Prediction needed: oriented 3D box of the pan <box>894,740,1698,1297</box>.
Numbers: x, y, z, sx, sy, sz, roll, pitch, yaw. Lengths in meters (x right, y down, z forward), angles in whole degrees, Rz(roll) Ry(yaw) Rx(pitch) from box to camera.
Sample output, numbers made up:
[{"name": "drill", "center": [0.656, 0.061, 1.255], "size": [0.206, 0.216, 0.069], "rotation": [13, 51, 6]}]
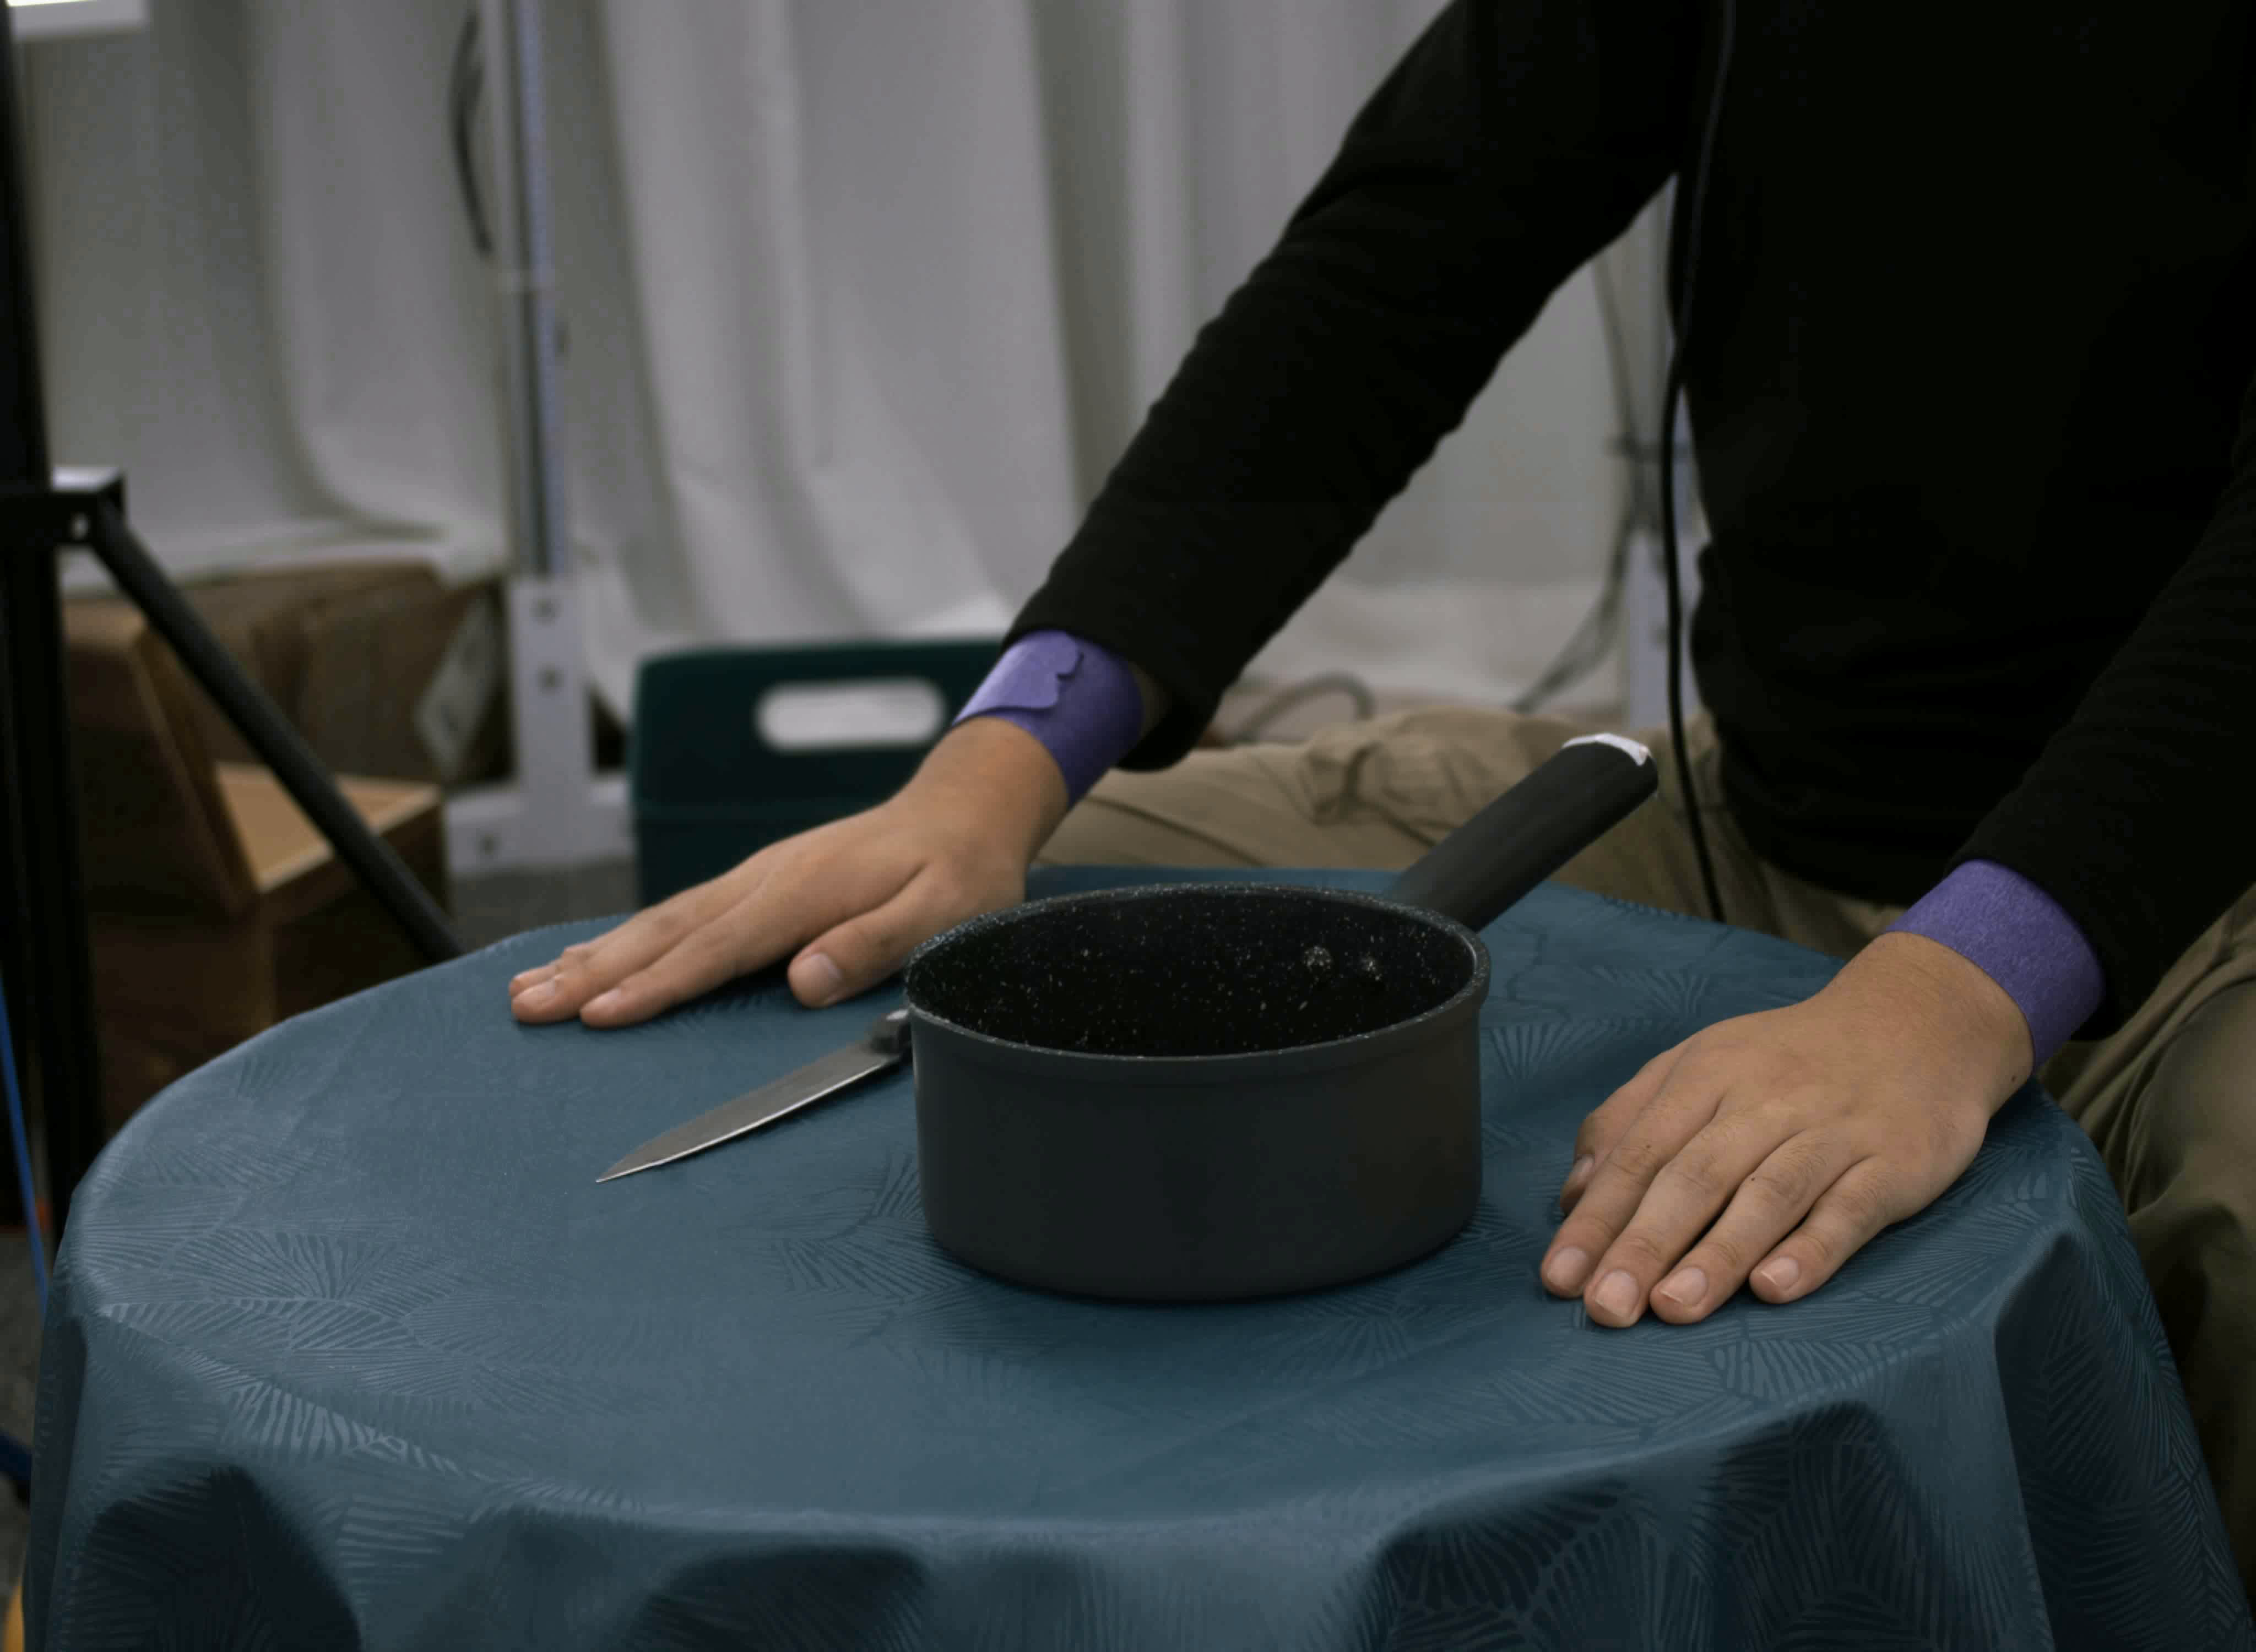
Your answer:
[{"name": "pan", "center": [0.068, 0.054, 1.582], "size": [0.176, 0.086, 0.322], "rotation": [10, 21, 38]}]

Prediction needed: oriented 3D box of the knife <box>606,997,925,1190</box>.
[{"name": "knife", "center": [-0.085, 0.074, 1.671], "size": [0.025, 0.016, 0.233], "rotation": [13, 25, 36]}]
